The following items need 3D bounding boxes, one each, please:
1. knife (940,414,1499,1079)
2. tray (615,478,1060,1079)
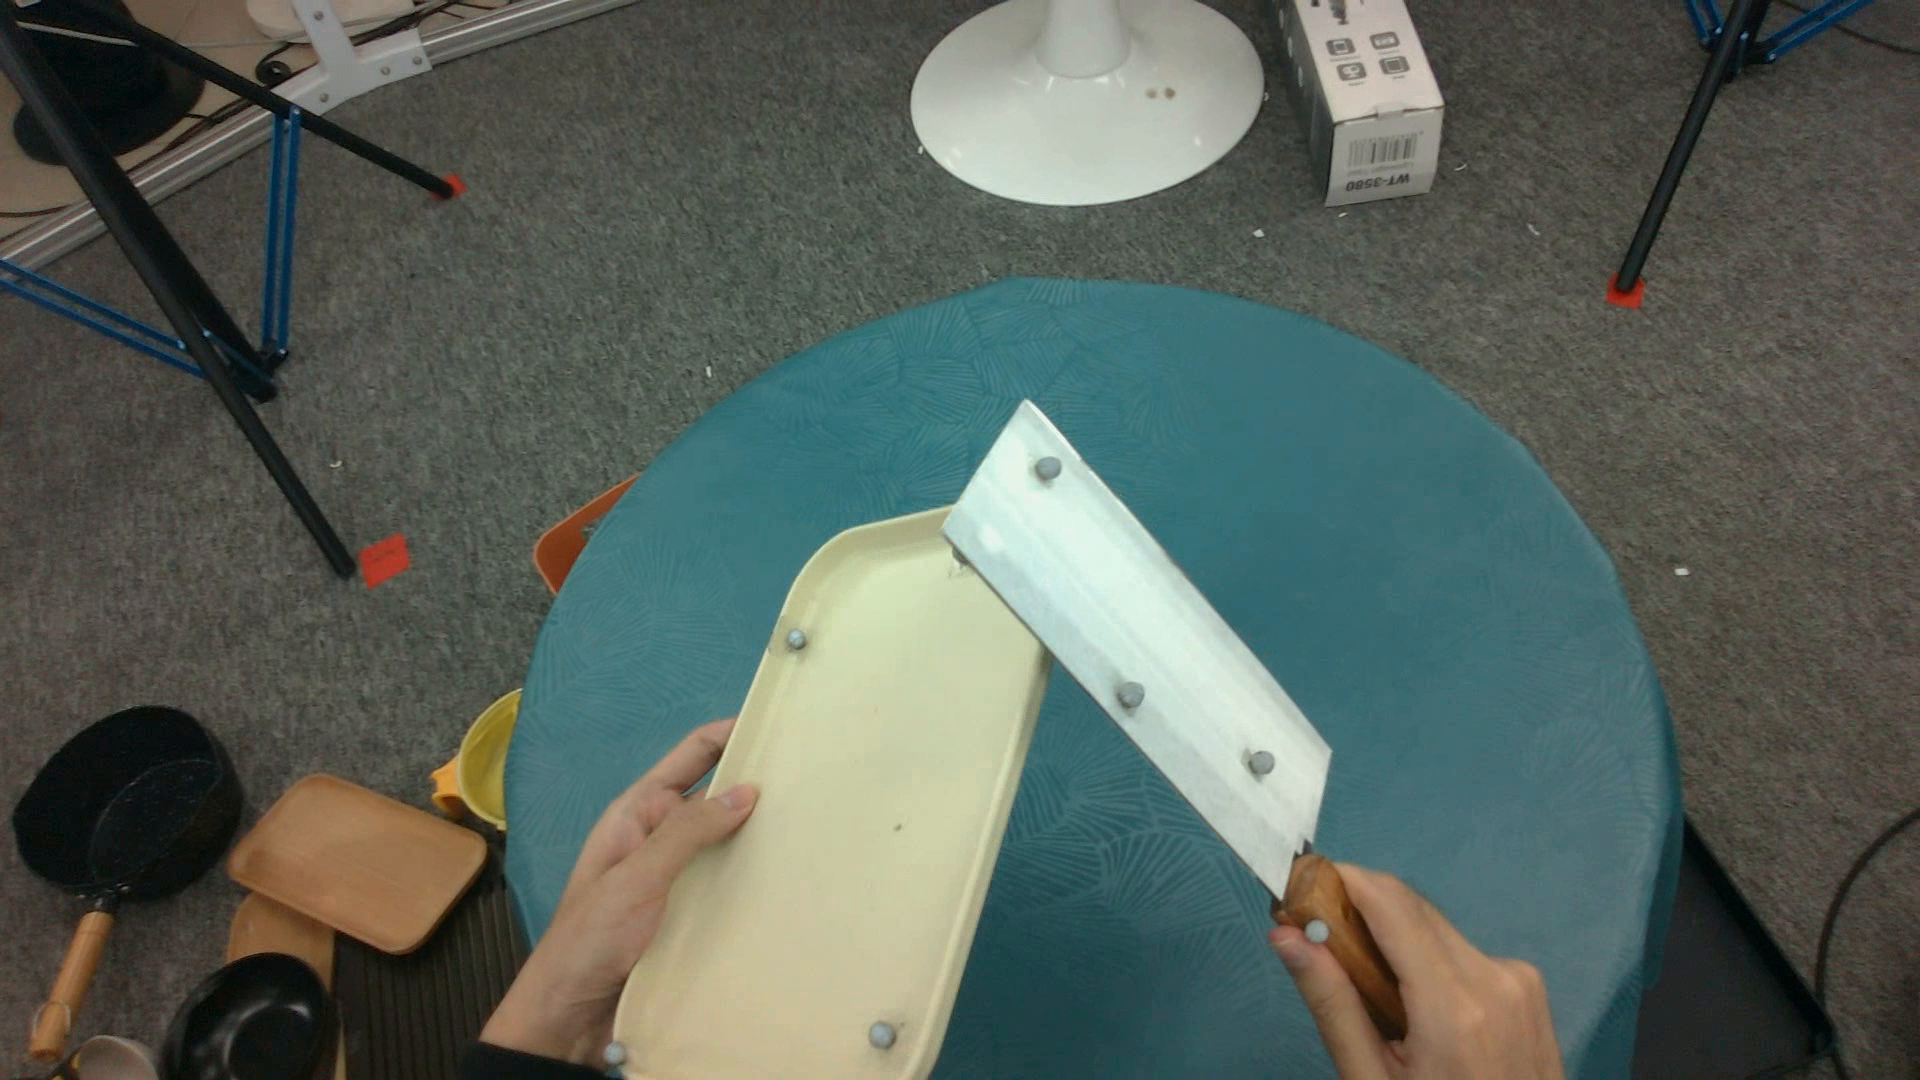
[{"bbox_3d":[0.105,0.075,0.505,0.021,0.305,0.093,-33,18,36],"label":"knife"},{"bbox_3d":[-0.042,0.084,0.522,0.170,0.017,0.240,-11,51,43],"label":"tray"}]
